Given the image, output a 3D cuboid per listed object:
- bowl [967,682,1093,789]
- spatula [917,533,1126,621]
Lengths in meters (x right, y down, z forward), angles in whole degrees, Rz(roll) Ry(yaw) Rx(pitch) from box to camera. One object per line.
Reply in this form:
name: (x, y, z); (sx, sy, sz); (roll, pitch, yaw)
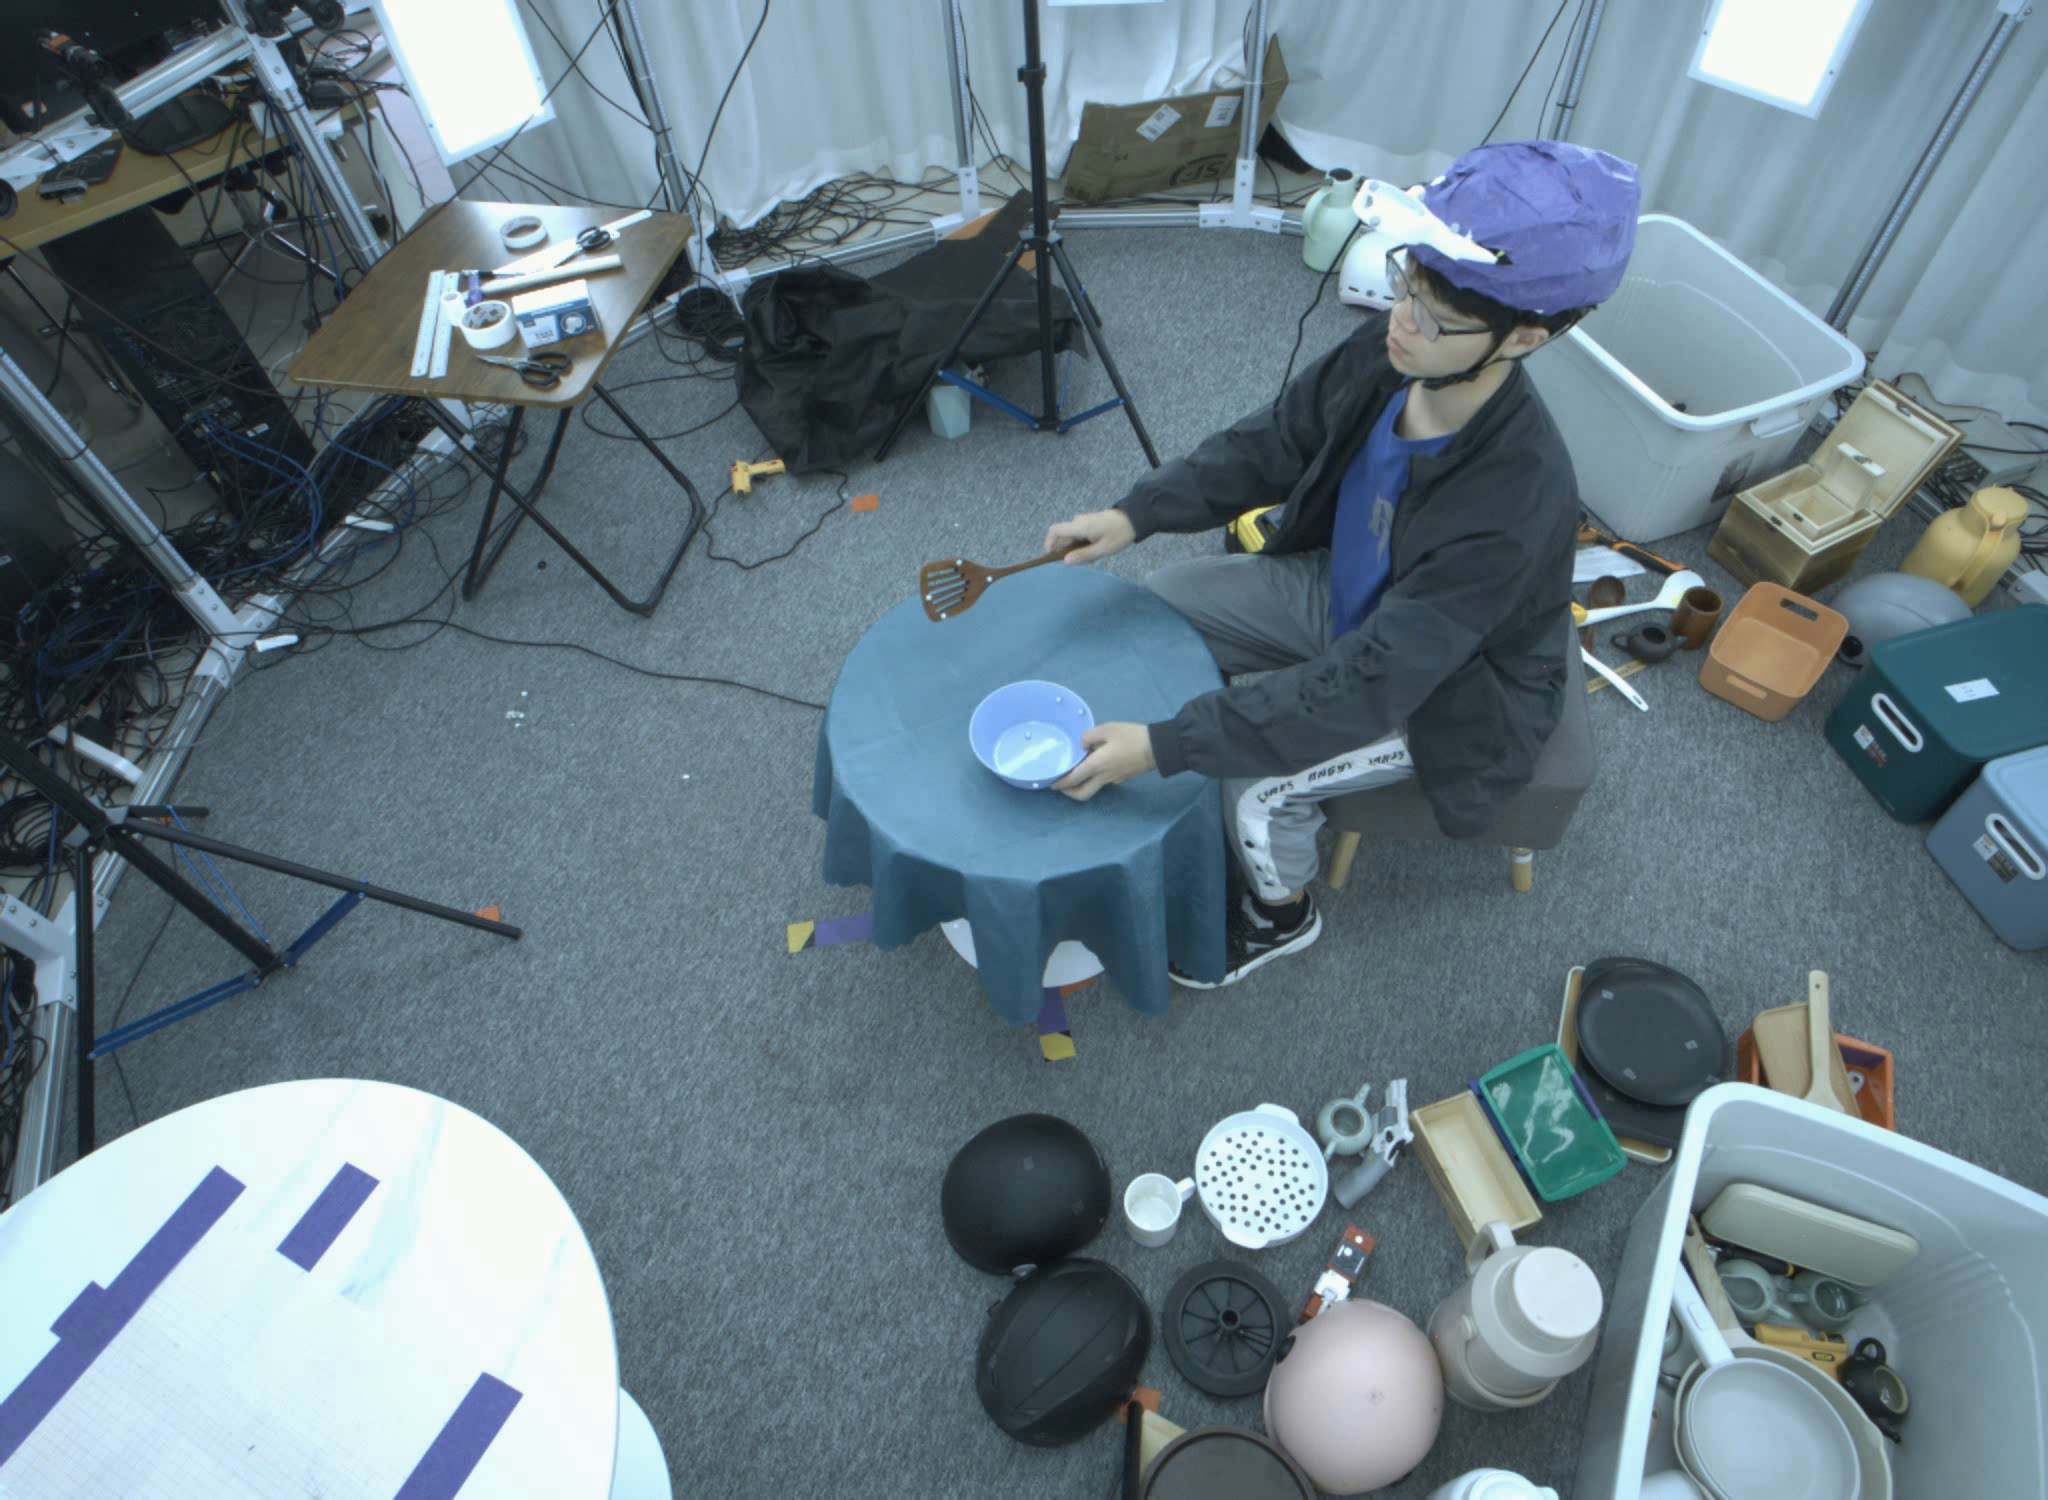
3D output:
bowl: (0.009, -0.010, 1.741); (0.176, 0.071, 0.174); (0, 54, 1)
spatula: (0.002, -0.275, 1.816); (0.392, 0.086, 0.023); (-20, 18, -32)
